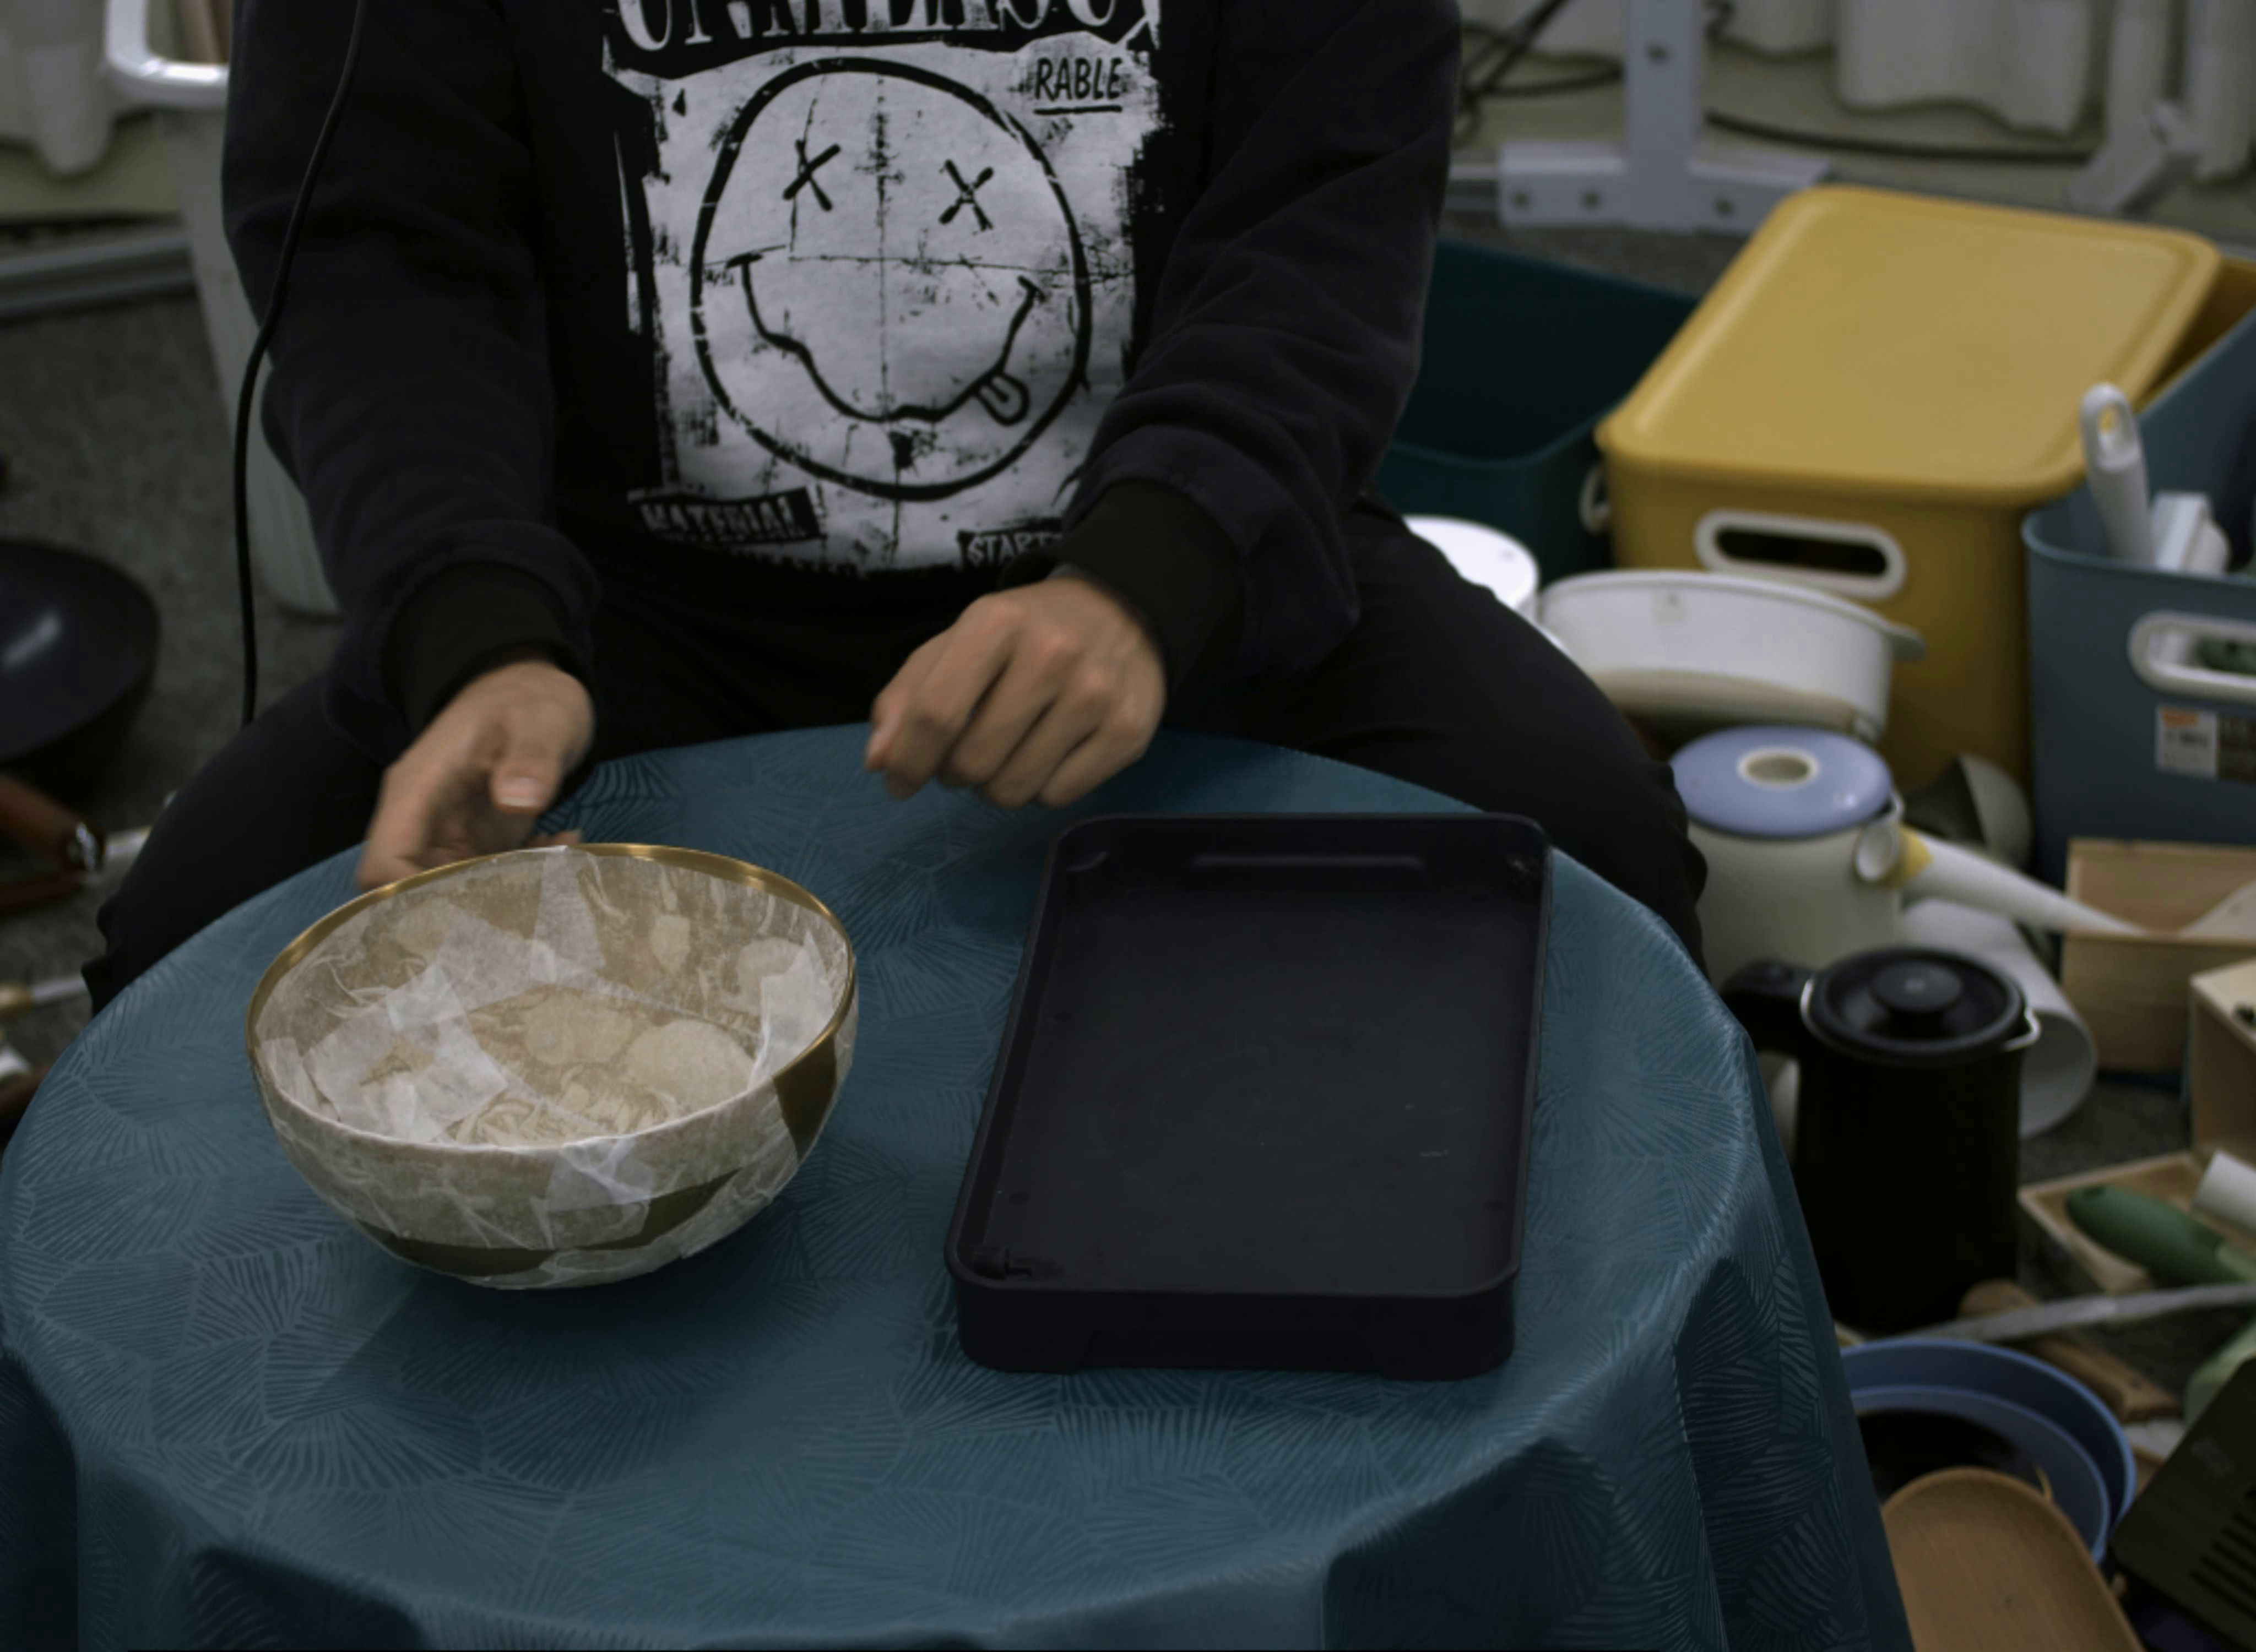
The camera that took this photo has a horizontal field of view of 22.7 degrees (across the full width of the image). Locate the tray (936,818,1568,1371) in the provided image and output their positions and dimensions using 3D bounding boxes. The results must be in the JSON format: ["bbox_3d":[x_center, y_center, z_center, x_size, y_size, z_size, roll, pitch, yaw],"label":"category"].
[{"bbox_3d":[0.049,0.084,1.887,0.183,0.036,0.323,0,26,8],"label":"tray"}]

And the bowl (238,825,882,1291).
[{"bbox_3d":[-0.181,0.090,1.842,0.213,0.093,0.218,-3,27,2],"label":"bowl"}]
